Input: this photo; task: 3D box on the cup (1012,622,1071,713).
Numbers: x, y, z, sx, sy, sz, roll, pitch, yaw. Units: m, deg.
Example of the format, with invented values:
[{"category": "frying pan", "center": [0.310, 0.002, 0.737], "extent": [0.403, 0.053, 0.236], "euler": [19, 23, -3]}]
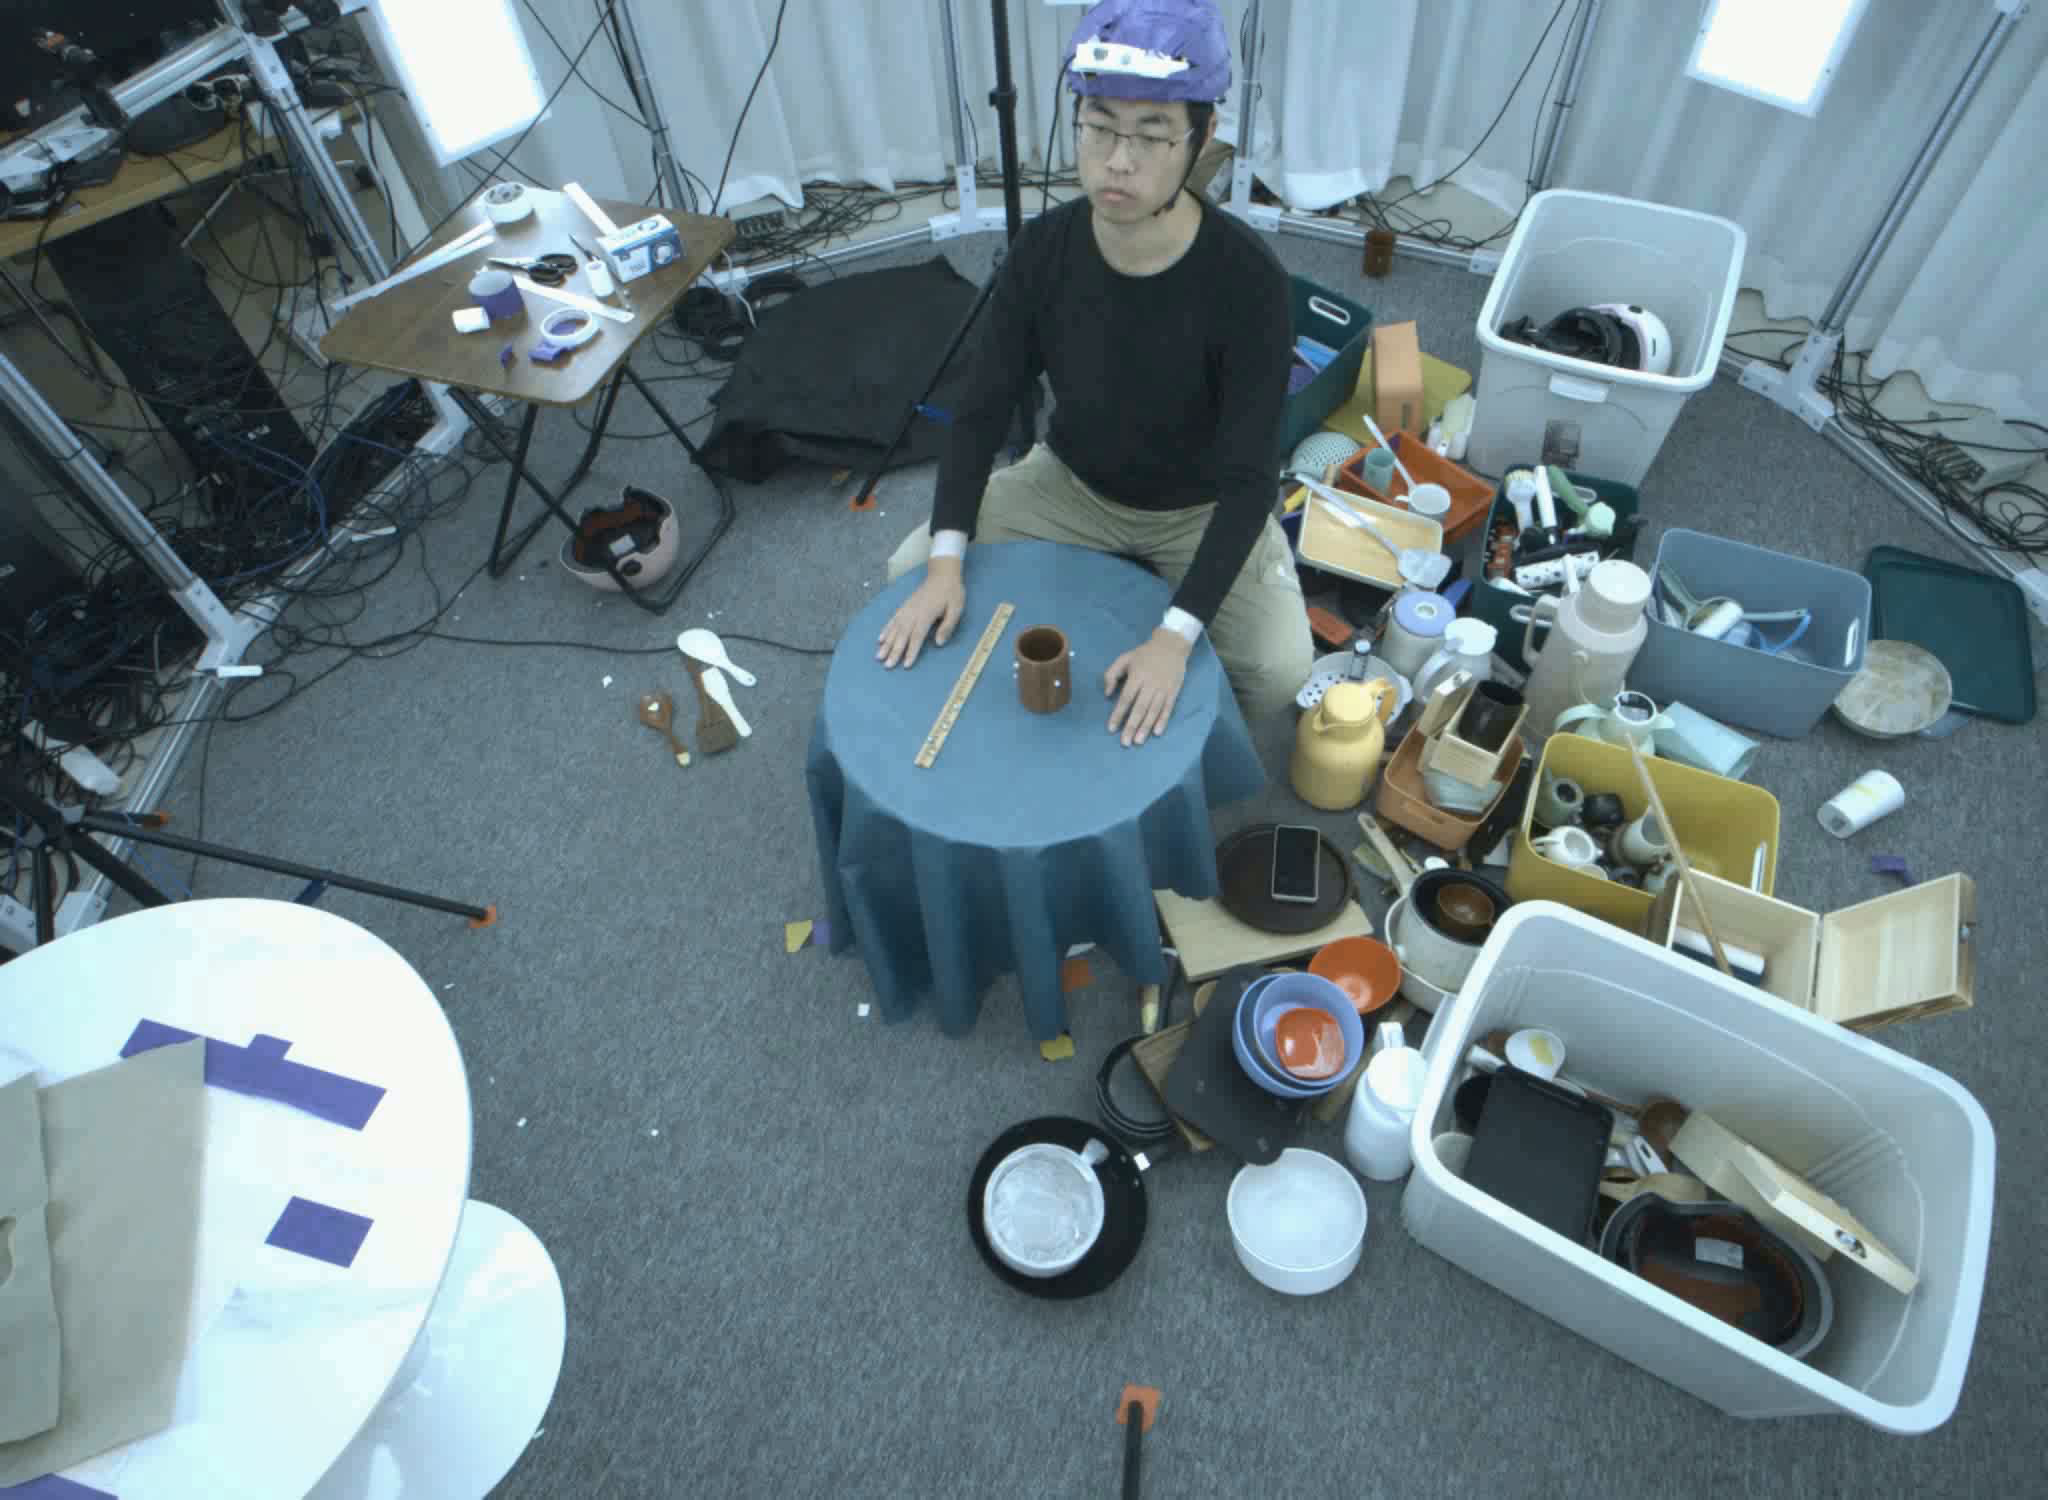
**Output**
[{"category": "cup", "center": [0.026, -0.120, 1.800], "extent": [0.087, 0.119, 0.087], "euler": [0, 55, 2]}]

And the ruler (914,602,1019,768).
[{"category": "ruler", "center": [-0.085, -0.107, 1.860], "extent": [0.027, 0.022, 0.332], "euler": [20, 58, 11]}]
